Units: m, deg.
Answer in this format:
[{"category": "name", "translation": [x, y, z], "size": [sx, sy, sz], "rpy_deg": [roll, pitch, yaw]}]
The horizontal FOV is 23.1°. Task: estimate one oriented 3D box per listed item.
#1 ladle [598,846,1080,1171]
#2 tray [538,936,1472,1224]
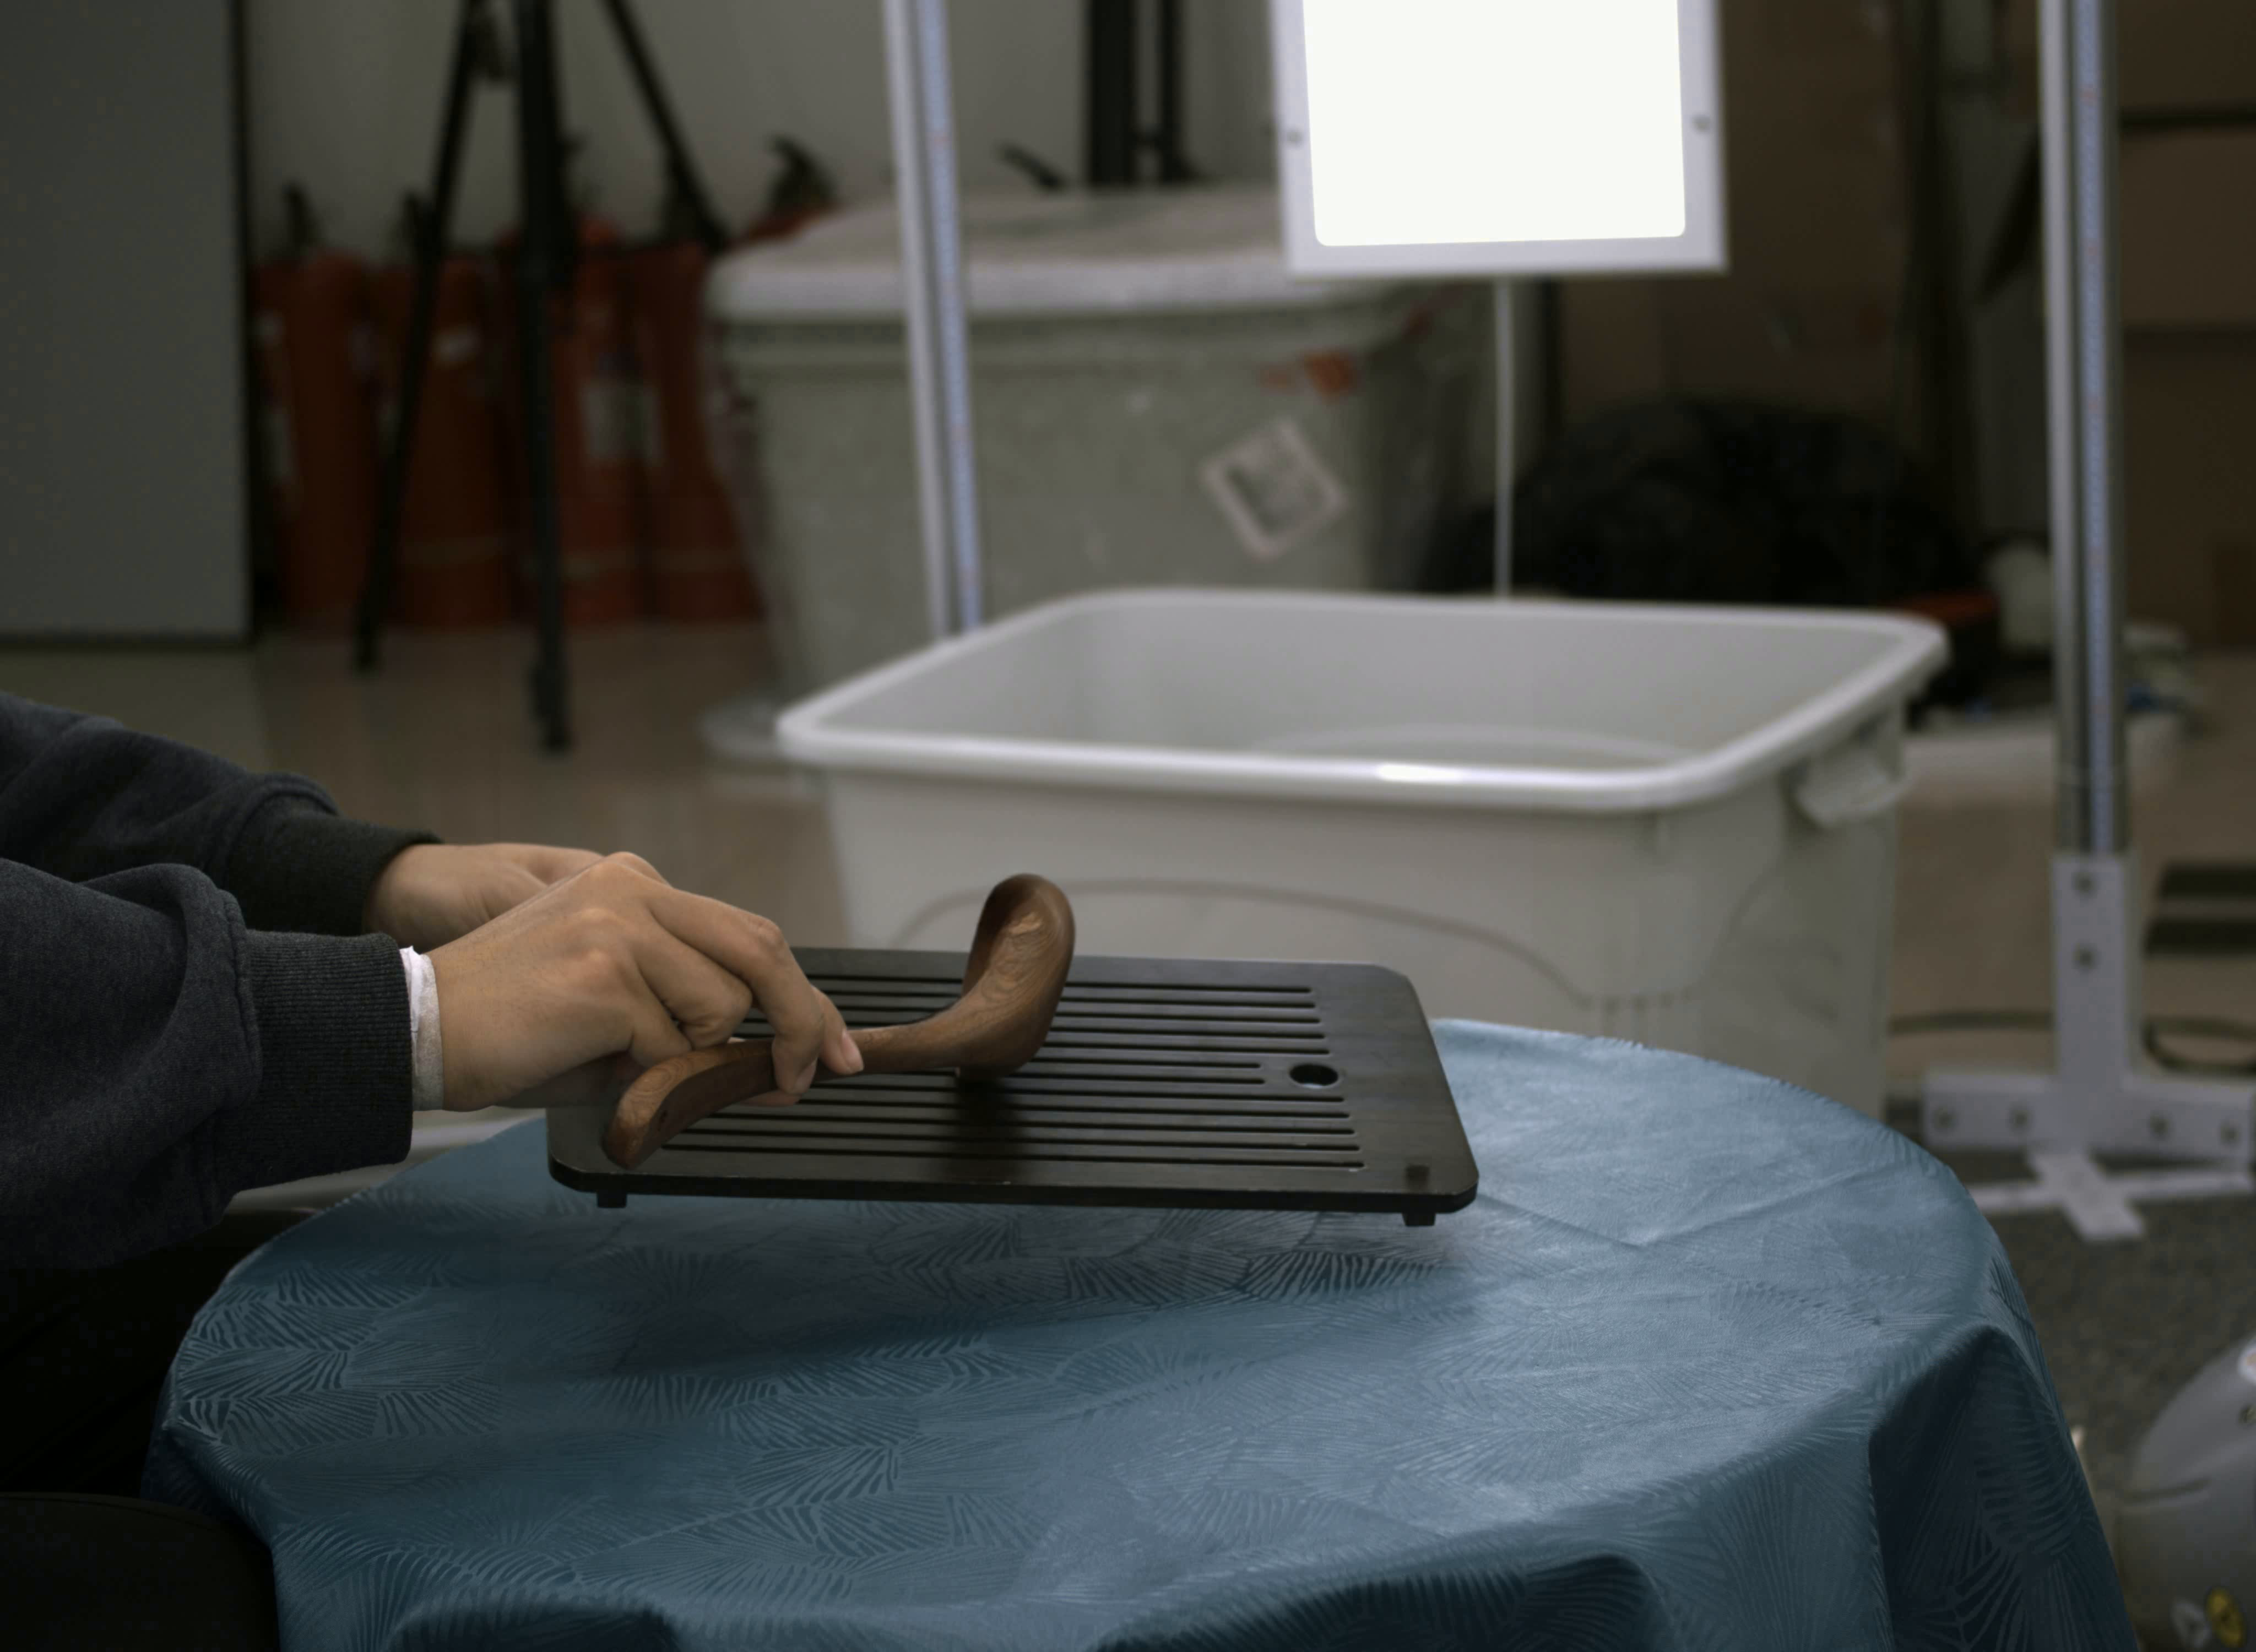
[{"category": "ladle", "translation": [-0.097, 0.062, 1.743], "size": [0.066, 0.077, 0.253], "rpy_deg": [29, 26, 30]}, {"category": "tray", "translation": [-0.045, 0.085, 1.847], "size": [0.304, 0.019, 0.170], "rpy_deg": [2, 25, -5]}]
